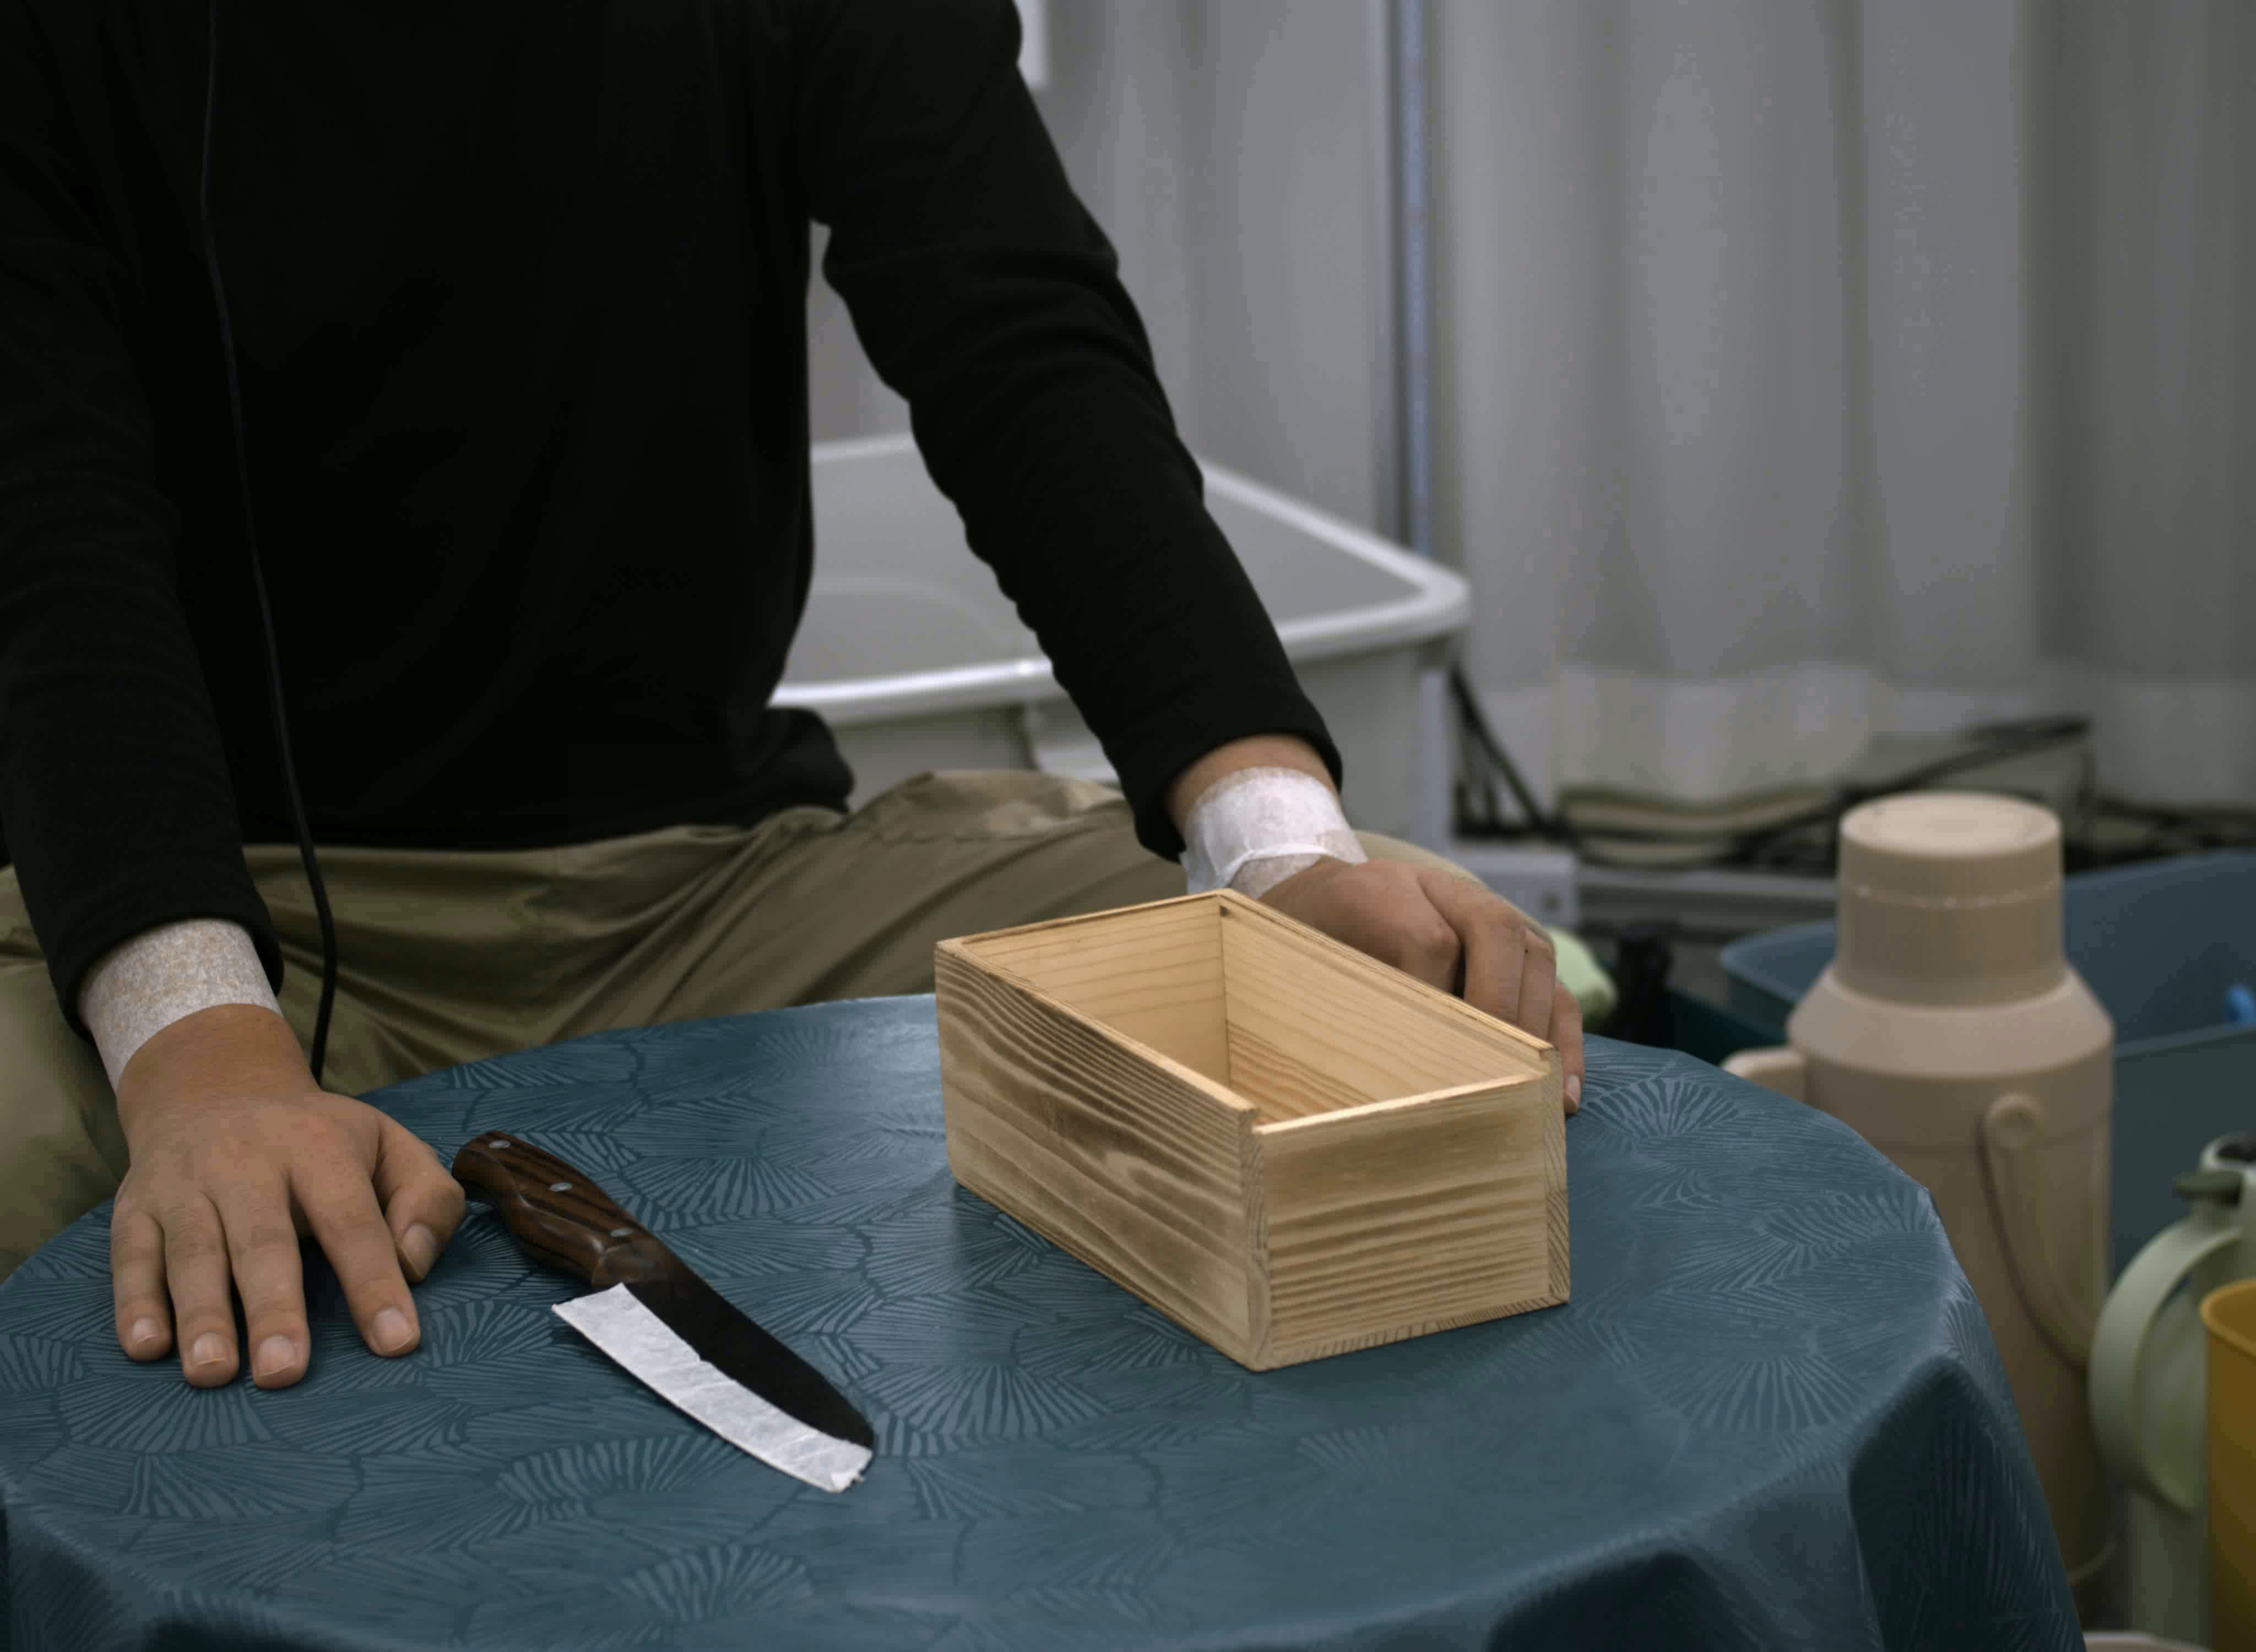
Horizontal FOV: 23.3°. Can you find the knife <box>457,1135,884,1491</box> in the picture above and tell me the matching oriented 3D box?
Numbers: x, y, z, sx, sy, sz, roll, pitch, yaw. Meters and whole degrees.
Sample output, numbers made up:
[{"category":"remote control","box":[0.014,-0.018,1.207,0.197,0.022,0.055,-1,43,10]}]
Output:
[{"category":"knife","box":[-0.138,0.143,1.607,0.050,0.020,0.291,-15,21,-23]}]

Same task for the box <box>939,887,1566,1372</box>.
[{"category":"box","box":[0.034,0.088,1.656,0.107,0.080,0.213,-9,16,-25]}]
